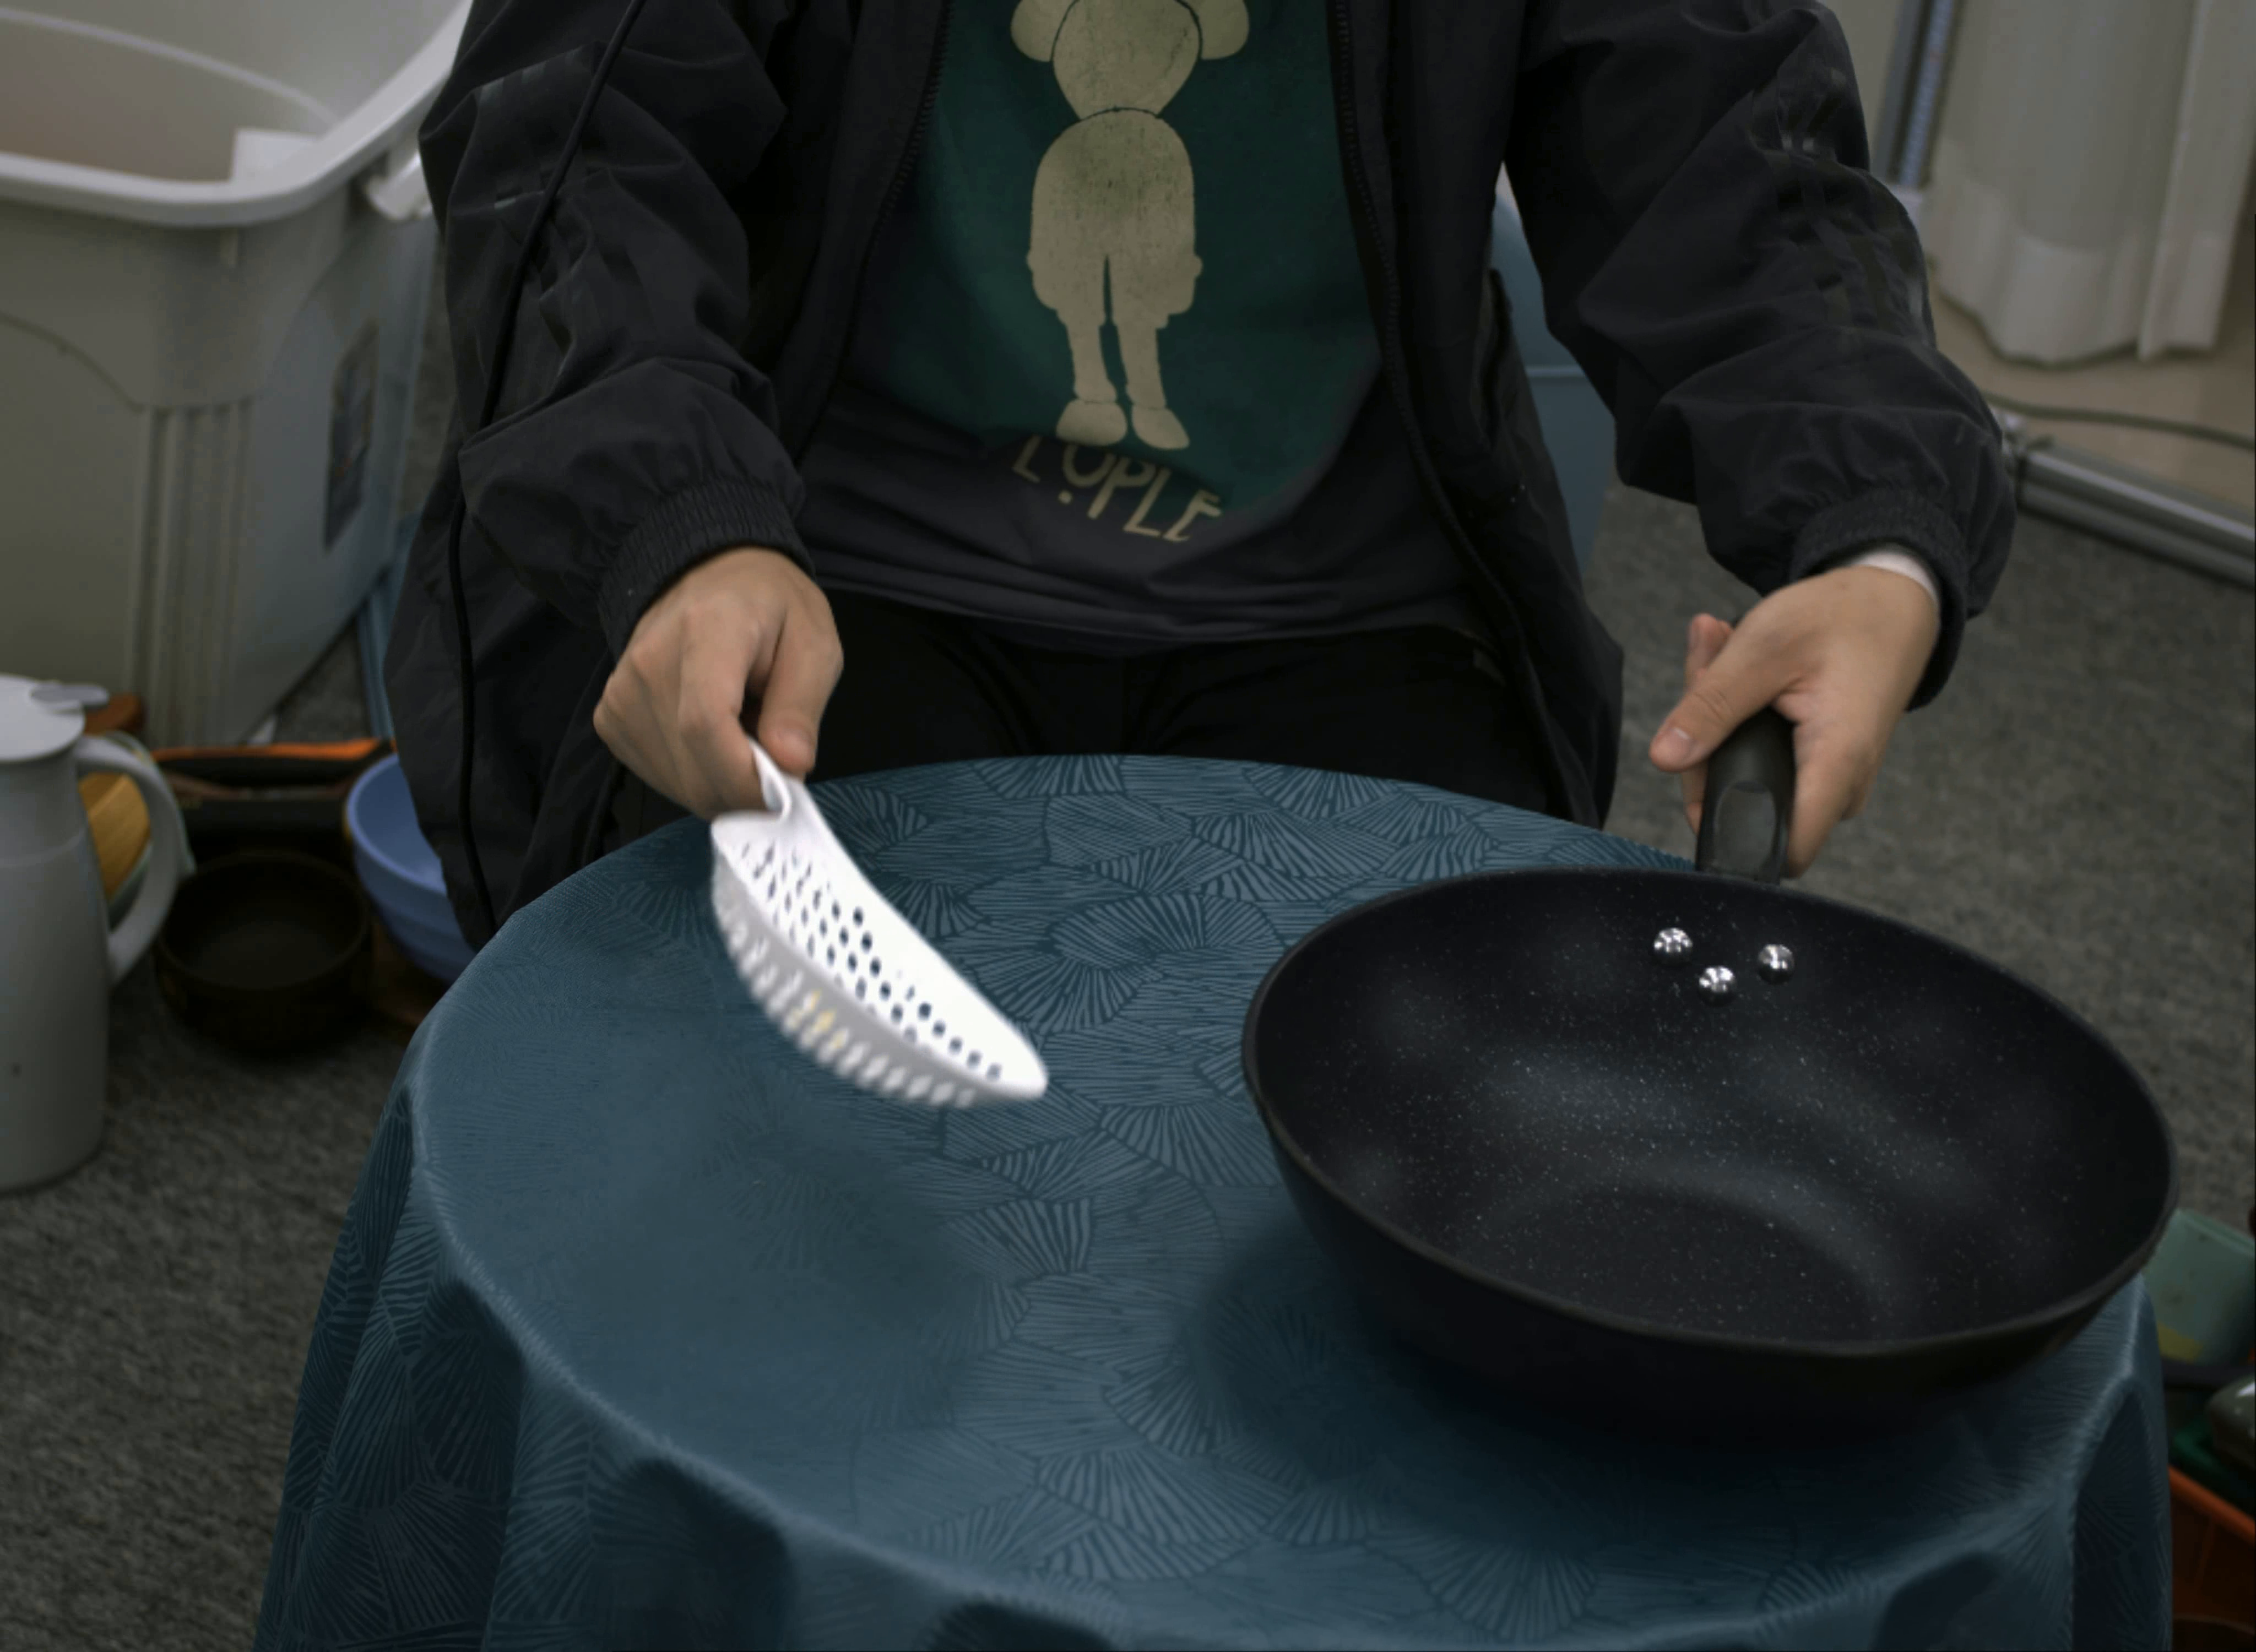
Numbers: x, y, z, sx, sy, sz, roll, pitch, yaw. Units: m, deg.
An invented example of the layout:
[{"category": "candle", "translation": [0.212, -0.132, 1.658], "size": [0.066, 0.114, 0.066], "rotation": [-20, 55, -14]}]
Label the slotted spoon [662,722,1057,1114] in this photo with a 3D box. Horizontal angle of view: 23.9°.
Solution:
[{"category": "slotted spoon", "translation": [-0.113, 0.018, 1.816], "size": [0.136, 0.050, 0.350], "rotation": [32, 12, -22]}]

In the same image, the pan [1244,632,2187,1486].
[{"category": "pan", "translation": [0.201, 0.081, 1.817], "size": [0.310, 0.111, 0.479], "rotation": [11, 28, 5]}]
